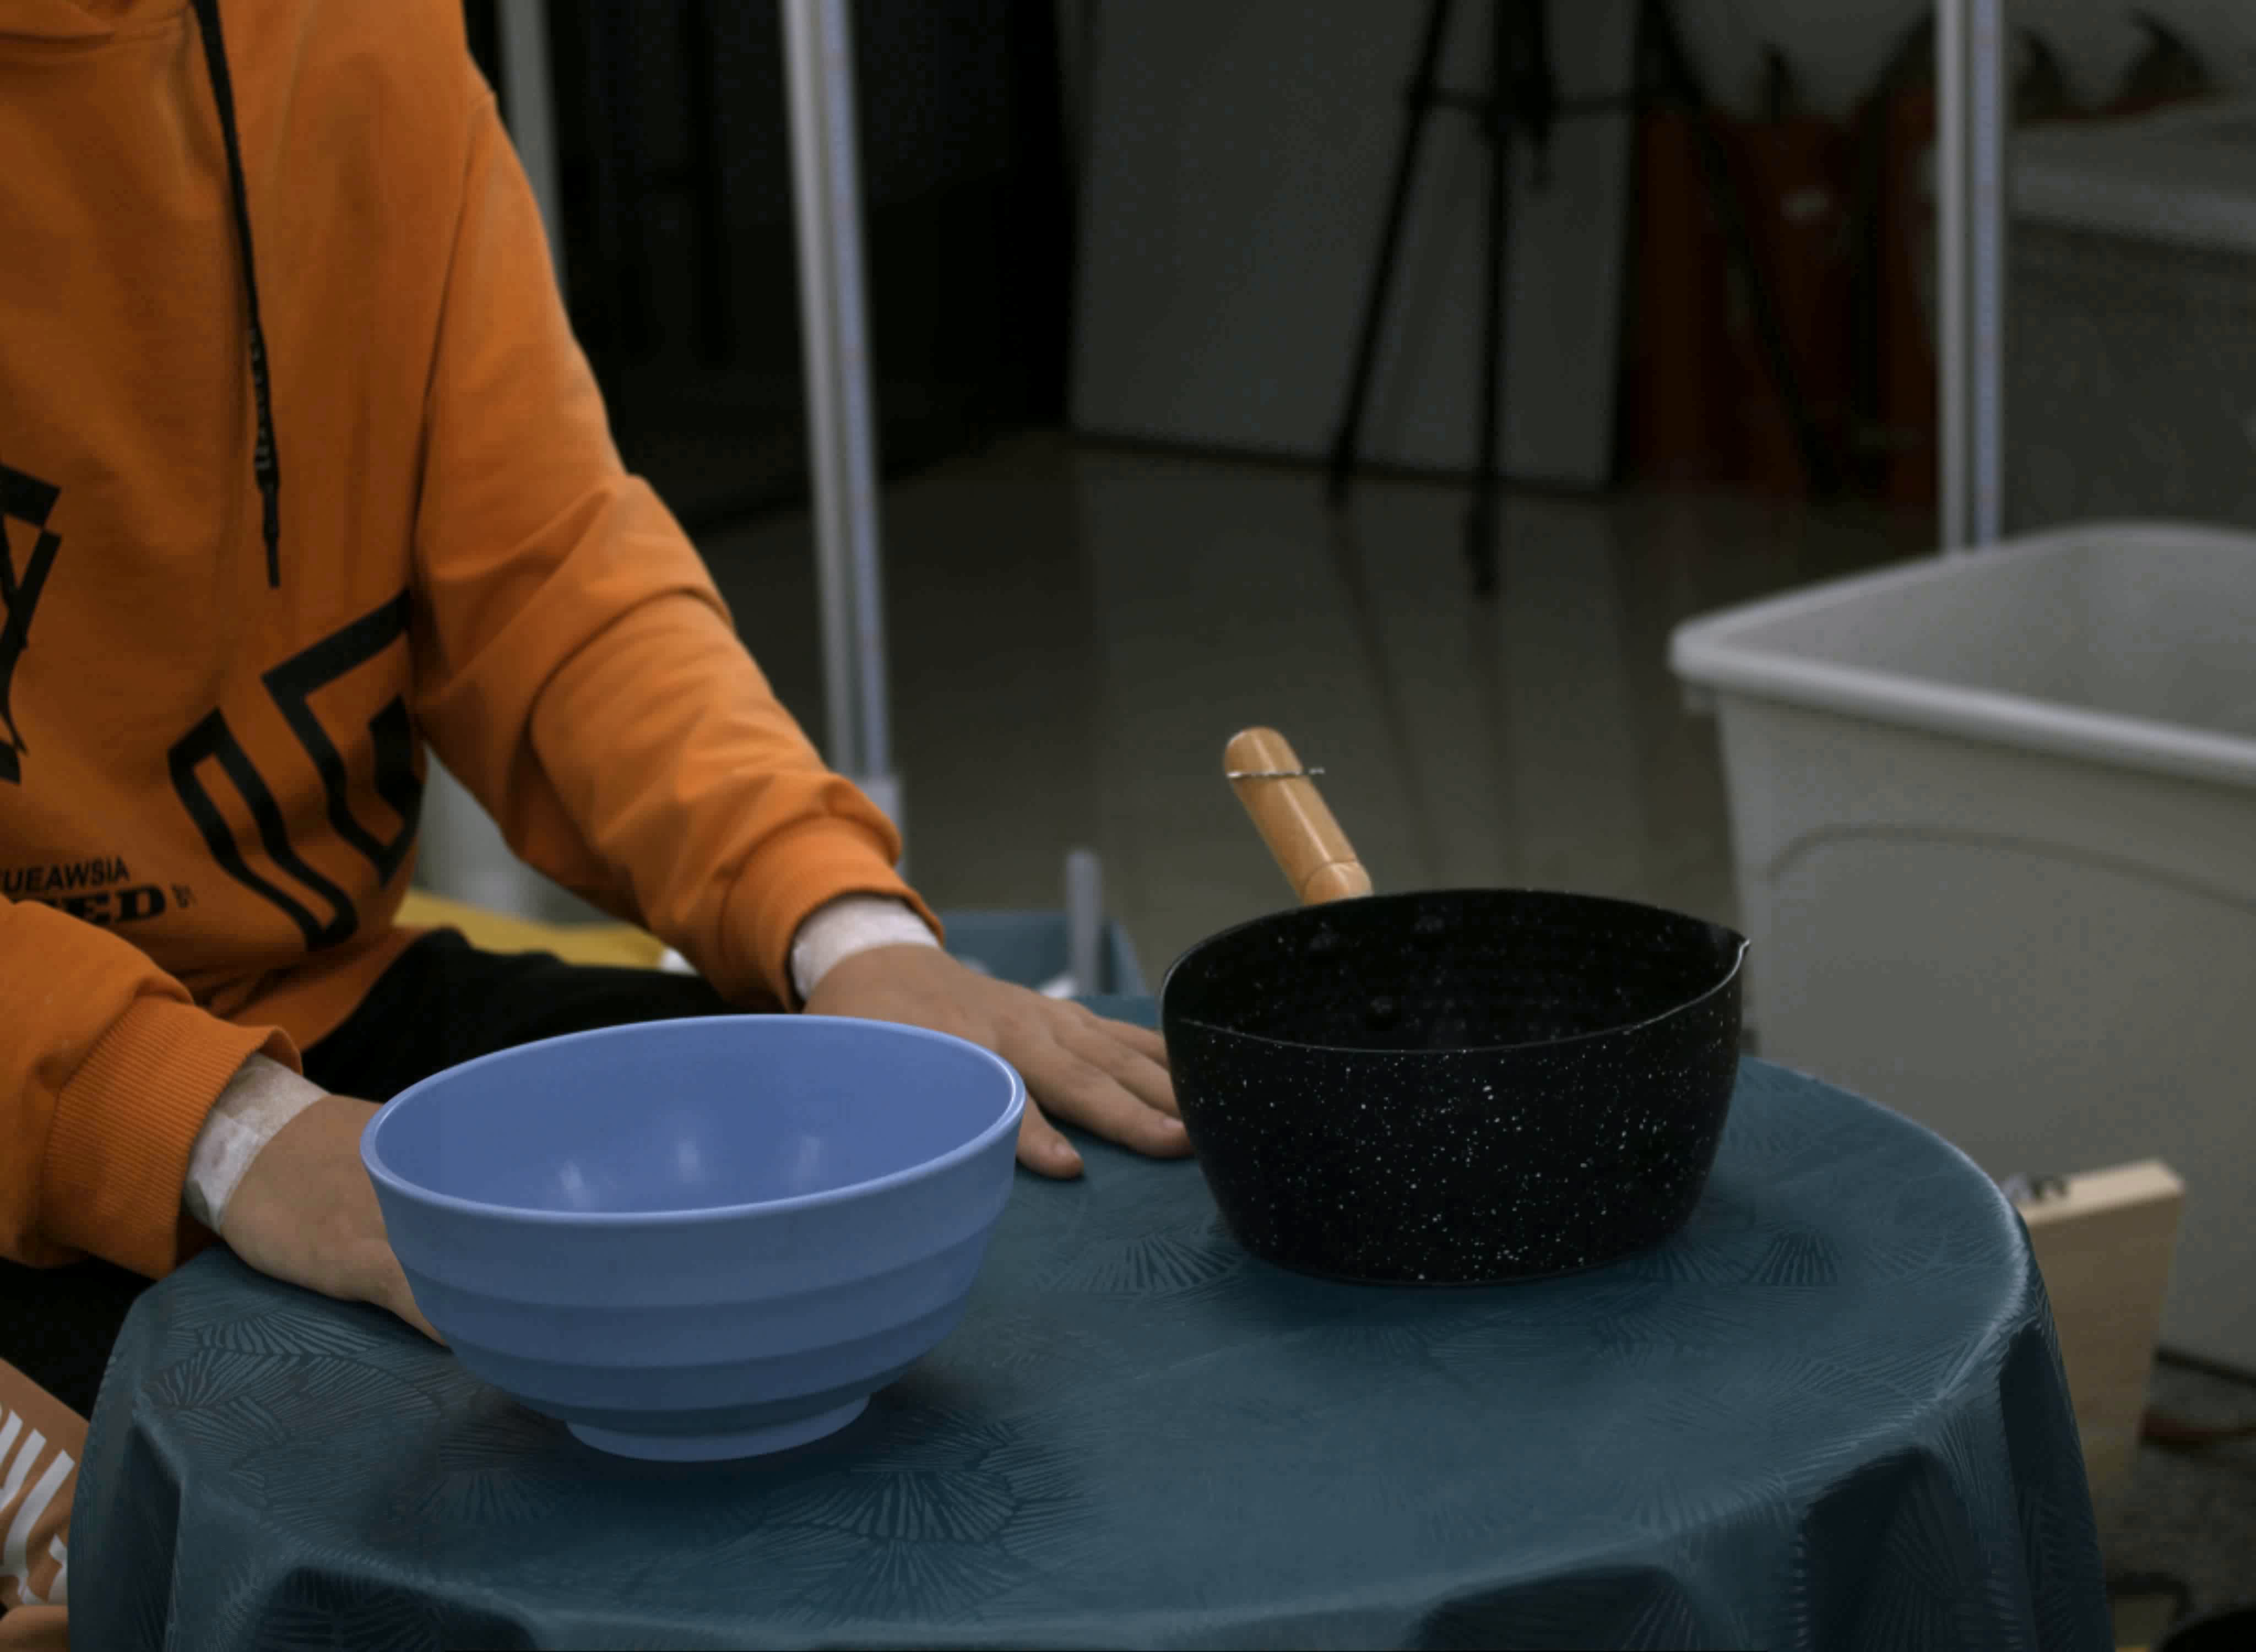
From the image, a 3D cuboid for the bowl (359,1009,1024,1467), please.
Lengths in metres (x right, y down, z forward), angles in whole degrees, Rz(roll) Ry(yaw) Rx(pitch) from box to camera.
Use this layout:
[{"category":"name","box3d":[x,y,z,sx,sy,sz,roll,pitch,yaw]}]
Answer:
[{"category":"bowl","box3d":[-0.123,0.127,1.585,0.194,0.096,0.197,-4,14,0]}]

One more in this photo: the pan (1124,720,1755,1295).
[{"category":"pan","box3d":[0.085,0.055,1.787,0.204,0.109,0.345,-8,16,-12]}]
